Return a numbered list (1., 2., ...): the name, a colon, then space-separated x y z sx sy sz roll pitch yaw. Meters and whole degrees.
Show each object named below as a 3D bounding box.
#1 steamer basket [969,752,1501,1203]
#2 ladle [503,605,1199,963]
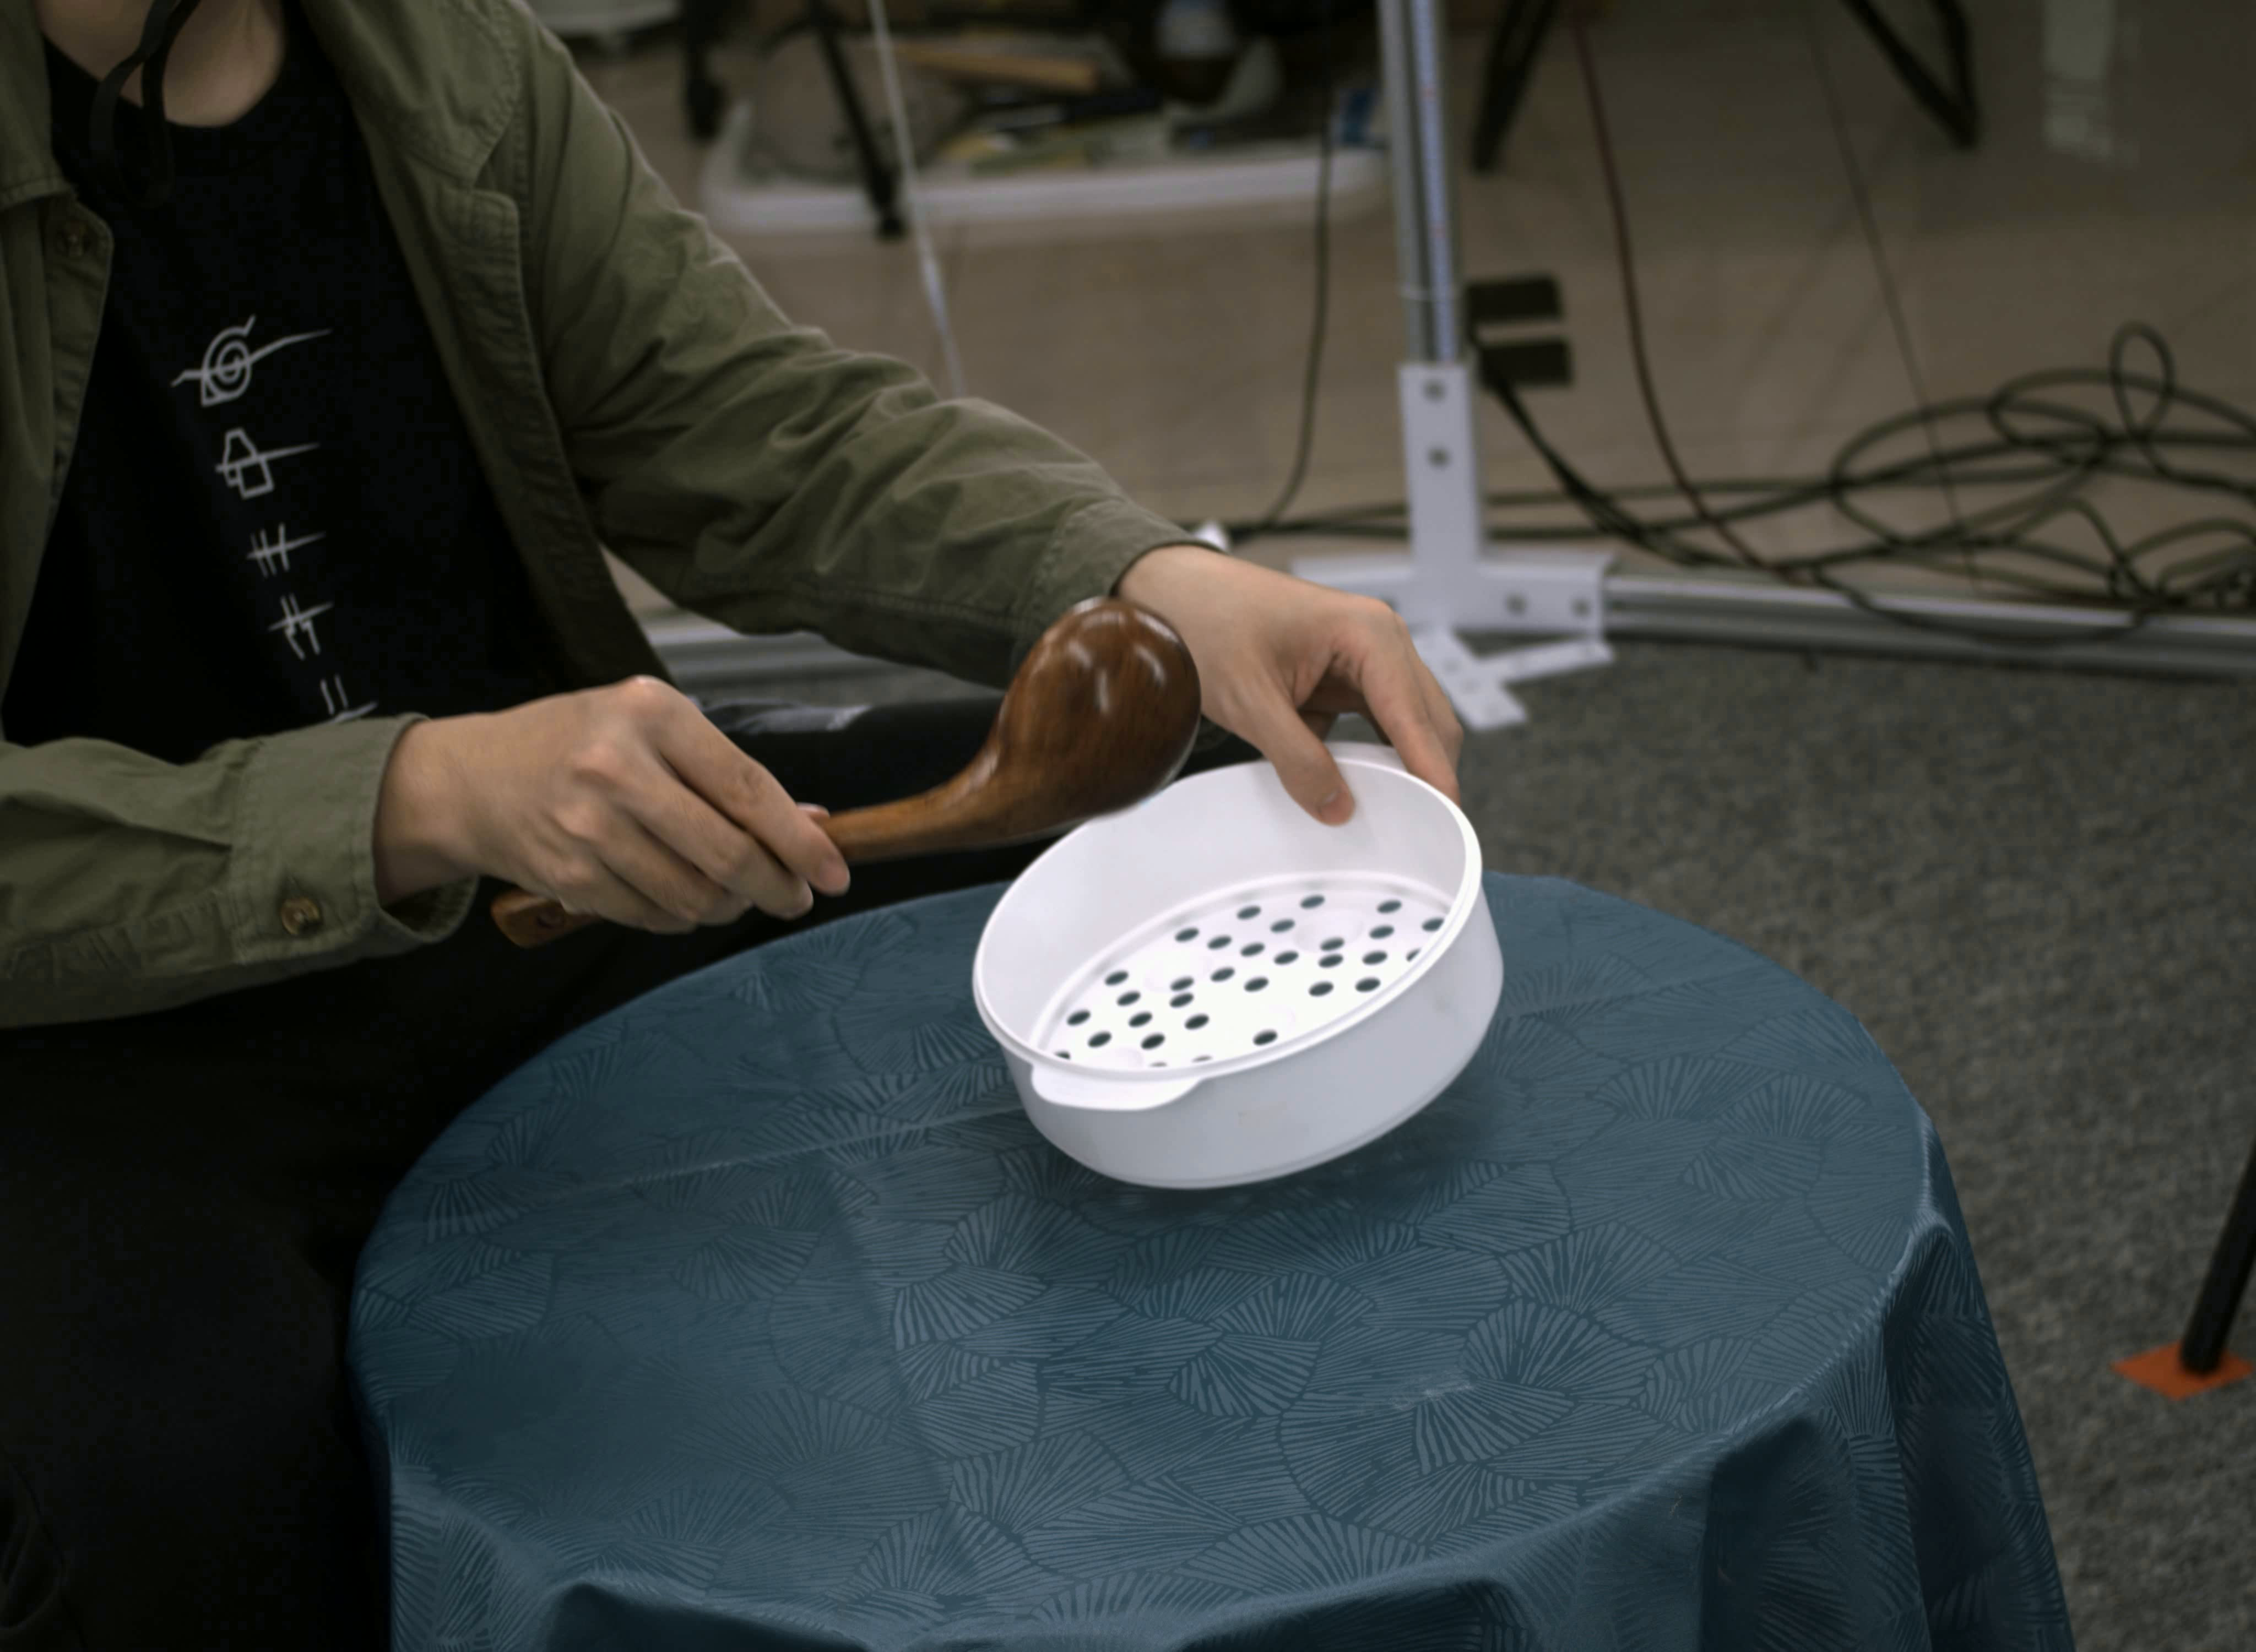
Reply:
1. steamer basket: 0.043 0.061 2.168 0.201 0.070 0.227 5 40 31
2. ladle: -0.101 -0.014 1.987 0.274 0.083 0.075 -12 51 28
